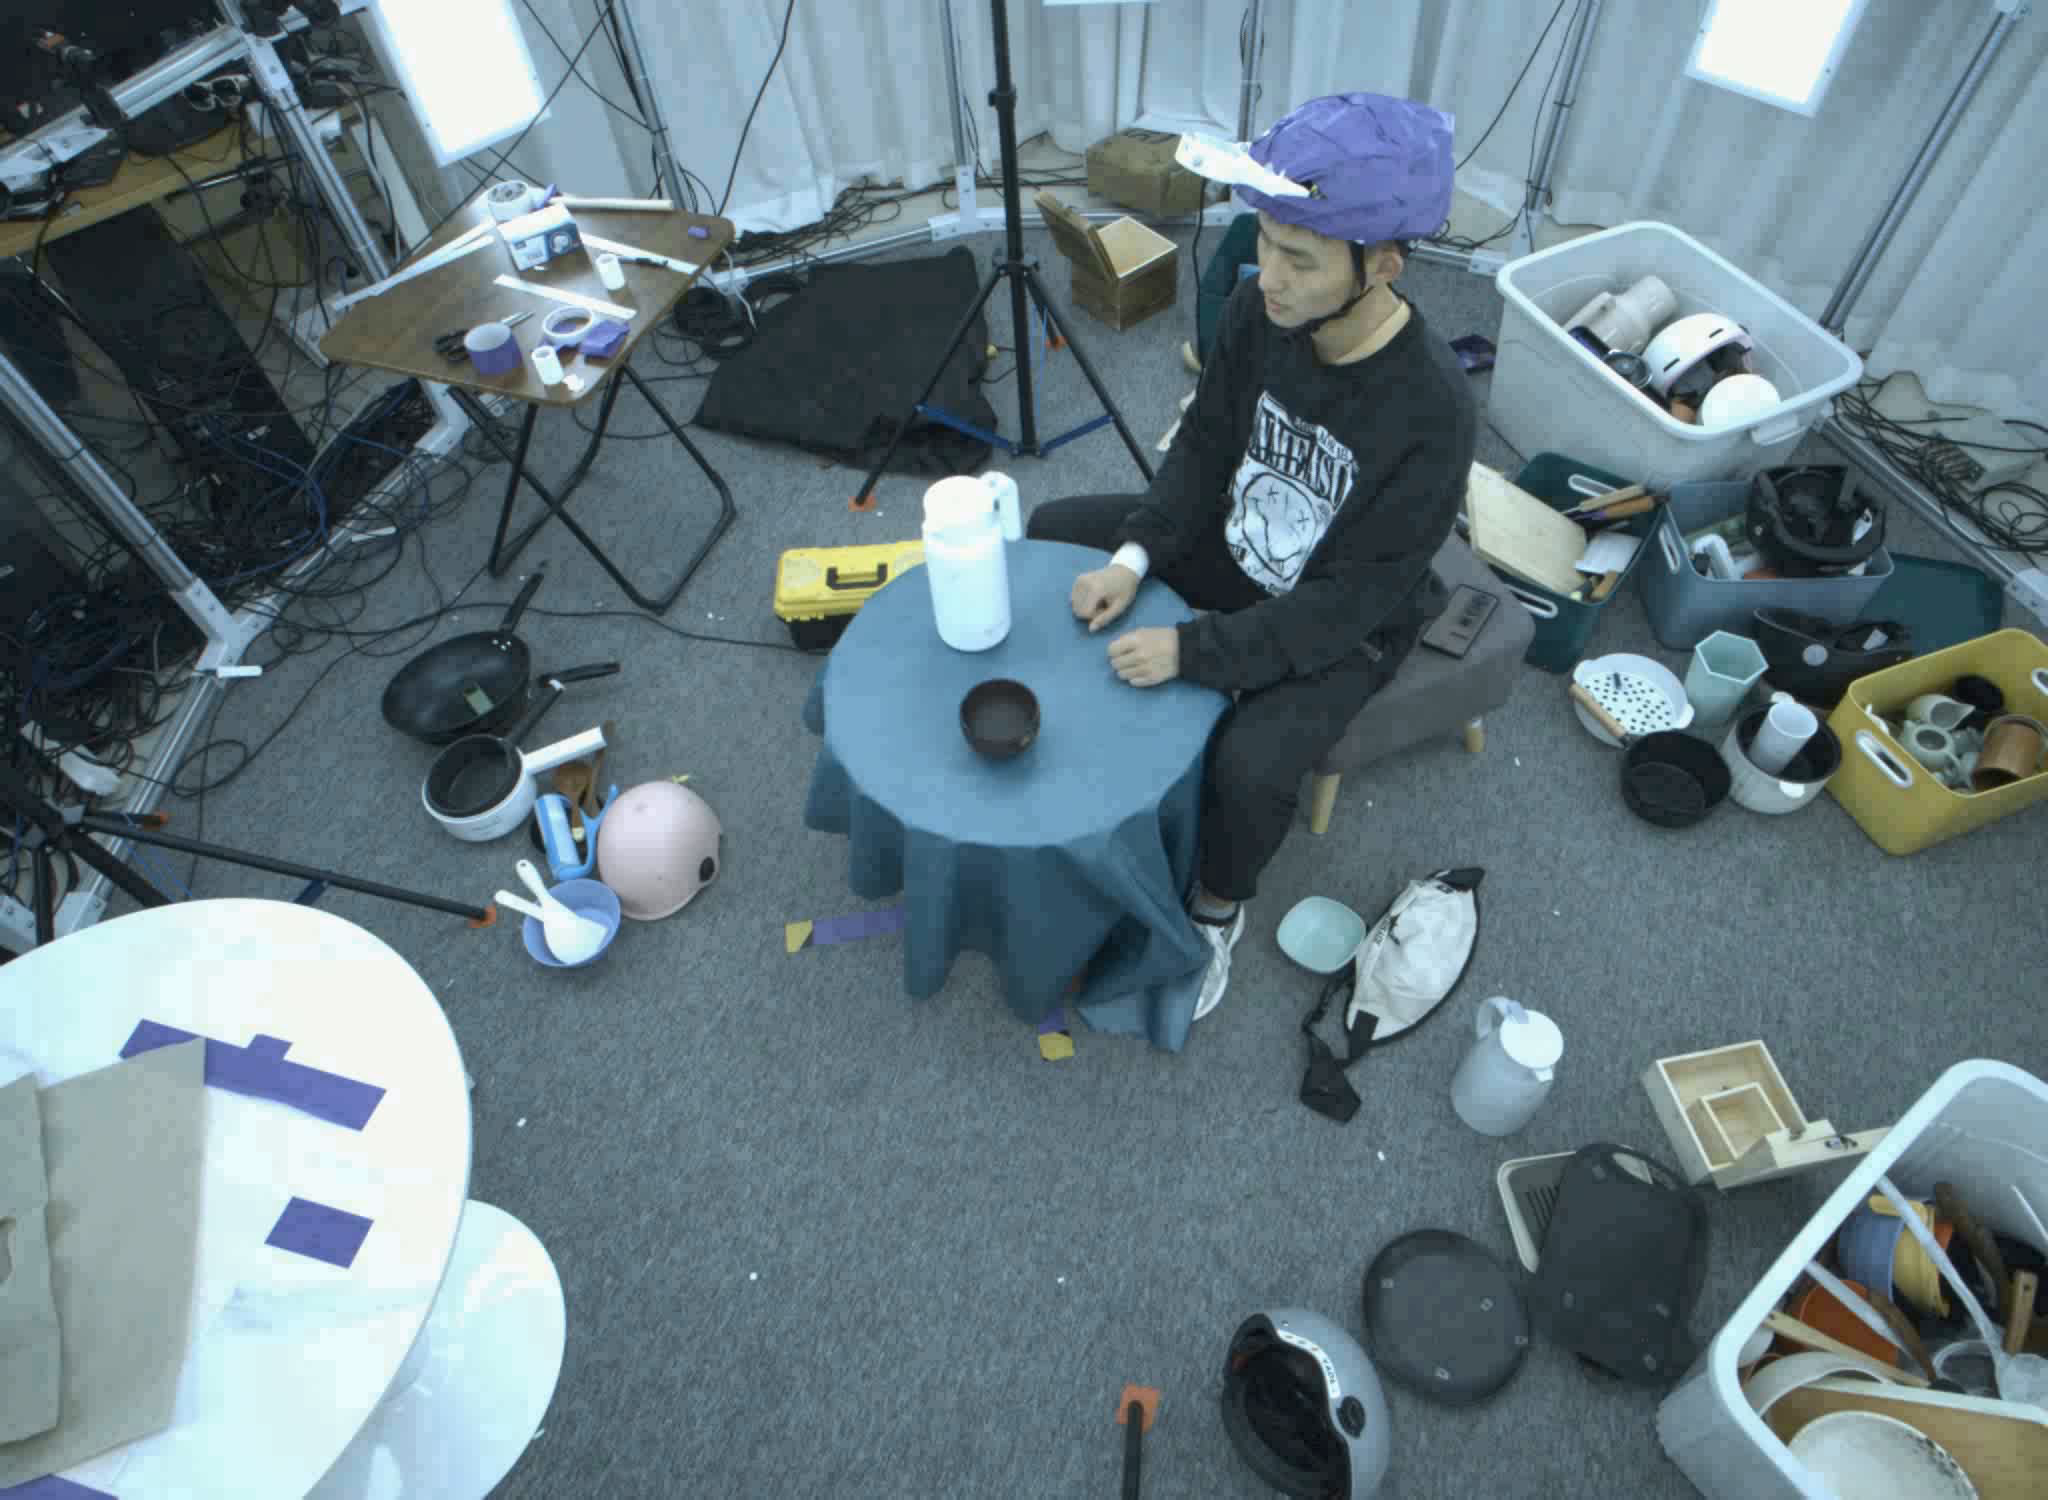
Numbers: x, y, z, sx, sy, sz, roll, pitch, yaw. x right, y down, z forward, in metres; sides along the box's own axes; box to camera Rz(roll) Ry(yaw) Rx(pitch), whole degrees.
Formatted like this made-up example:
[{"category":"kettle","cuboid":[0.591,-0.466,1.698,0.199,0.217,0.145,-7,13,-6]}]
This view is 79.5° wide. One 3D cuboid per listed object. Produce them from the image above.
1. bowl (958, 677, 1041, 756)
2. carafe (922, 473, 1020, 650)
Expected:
[{"category":"bowl","cuboid":[-0.034,-0.040,1.767,0.118,0.070,0.117,-1,53,2]},{"category":"carafe","cuboid":[-0.075,-0.285,1.825,0.121,0.272,0.174,33,63,26]}]
